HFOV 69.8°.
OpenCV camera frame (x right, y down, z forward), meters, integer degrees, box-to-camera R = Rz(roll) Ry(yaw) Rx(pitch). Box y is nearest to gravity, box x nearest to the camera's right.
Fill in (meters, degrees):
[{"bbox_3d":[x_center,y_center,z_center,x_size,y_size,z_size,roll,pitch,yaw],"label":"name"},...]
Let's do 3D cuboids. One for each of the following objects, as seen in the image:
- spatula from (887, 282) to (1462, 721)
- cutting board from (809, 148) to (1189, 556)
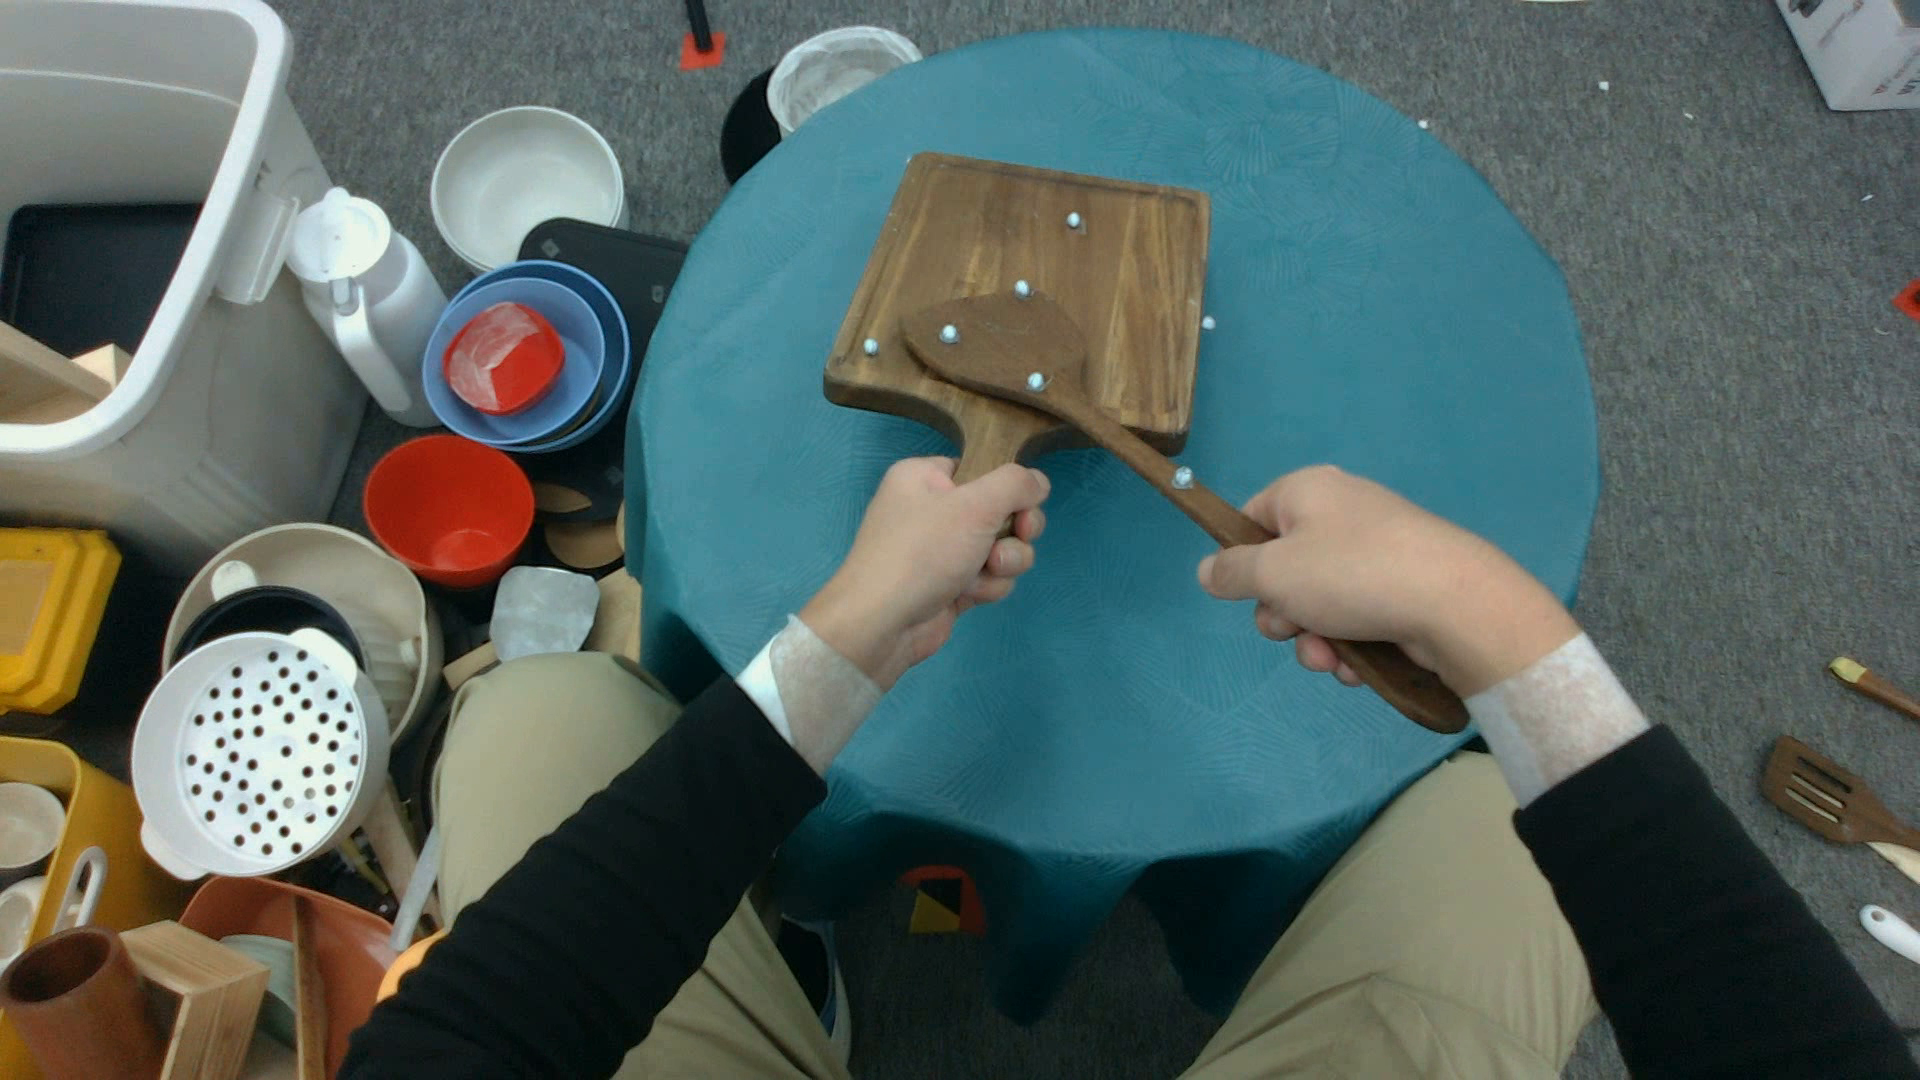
[{"bbox_3d":[0.088,-0.037,0.645,0.096,0.016,0.386,-17,39,-25],"label":"spatula"},{"bbox_3d":[0.026,-0.119,0.771,0.201,0.023,0.354,9,44,3],"label":"cutting board"}]
